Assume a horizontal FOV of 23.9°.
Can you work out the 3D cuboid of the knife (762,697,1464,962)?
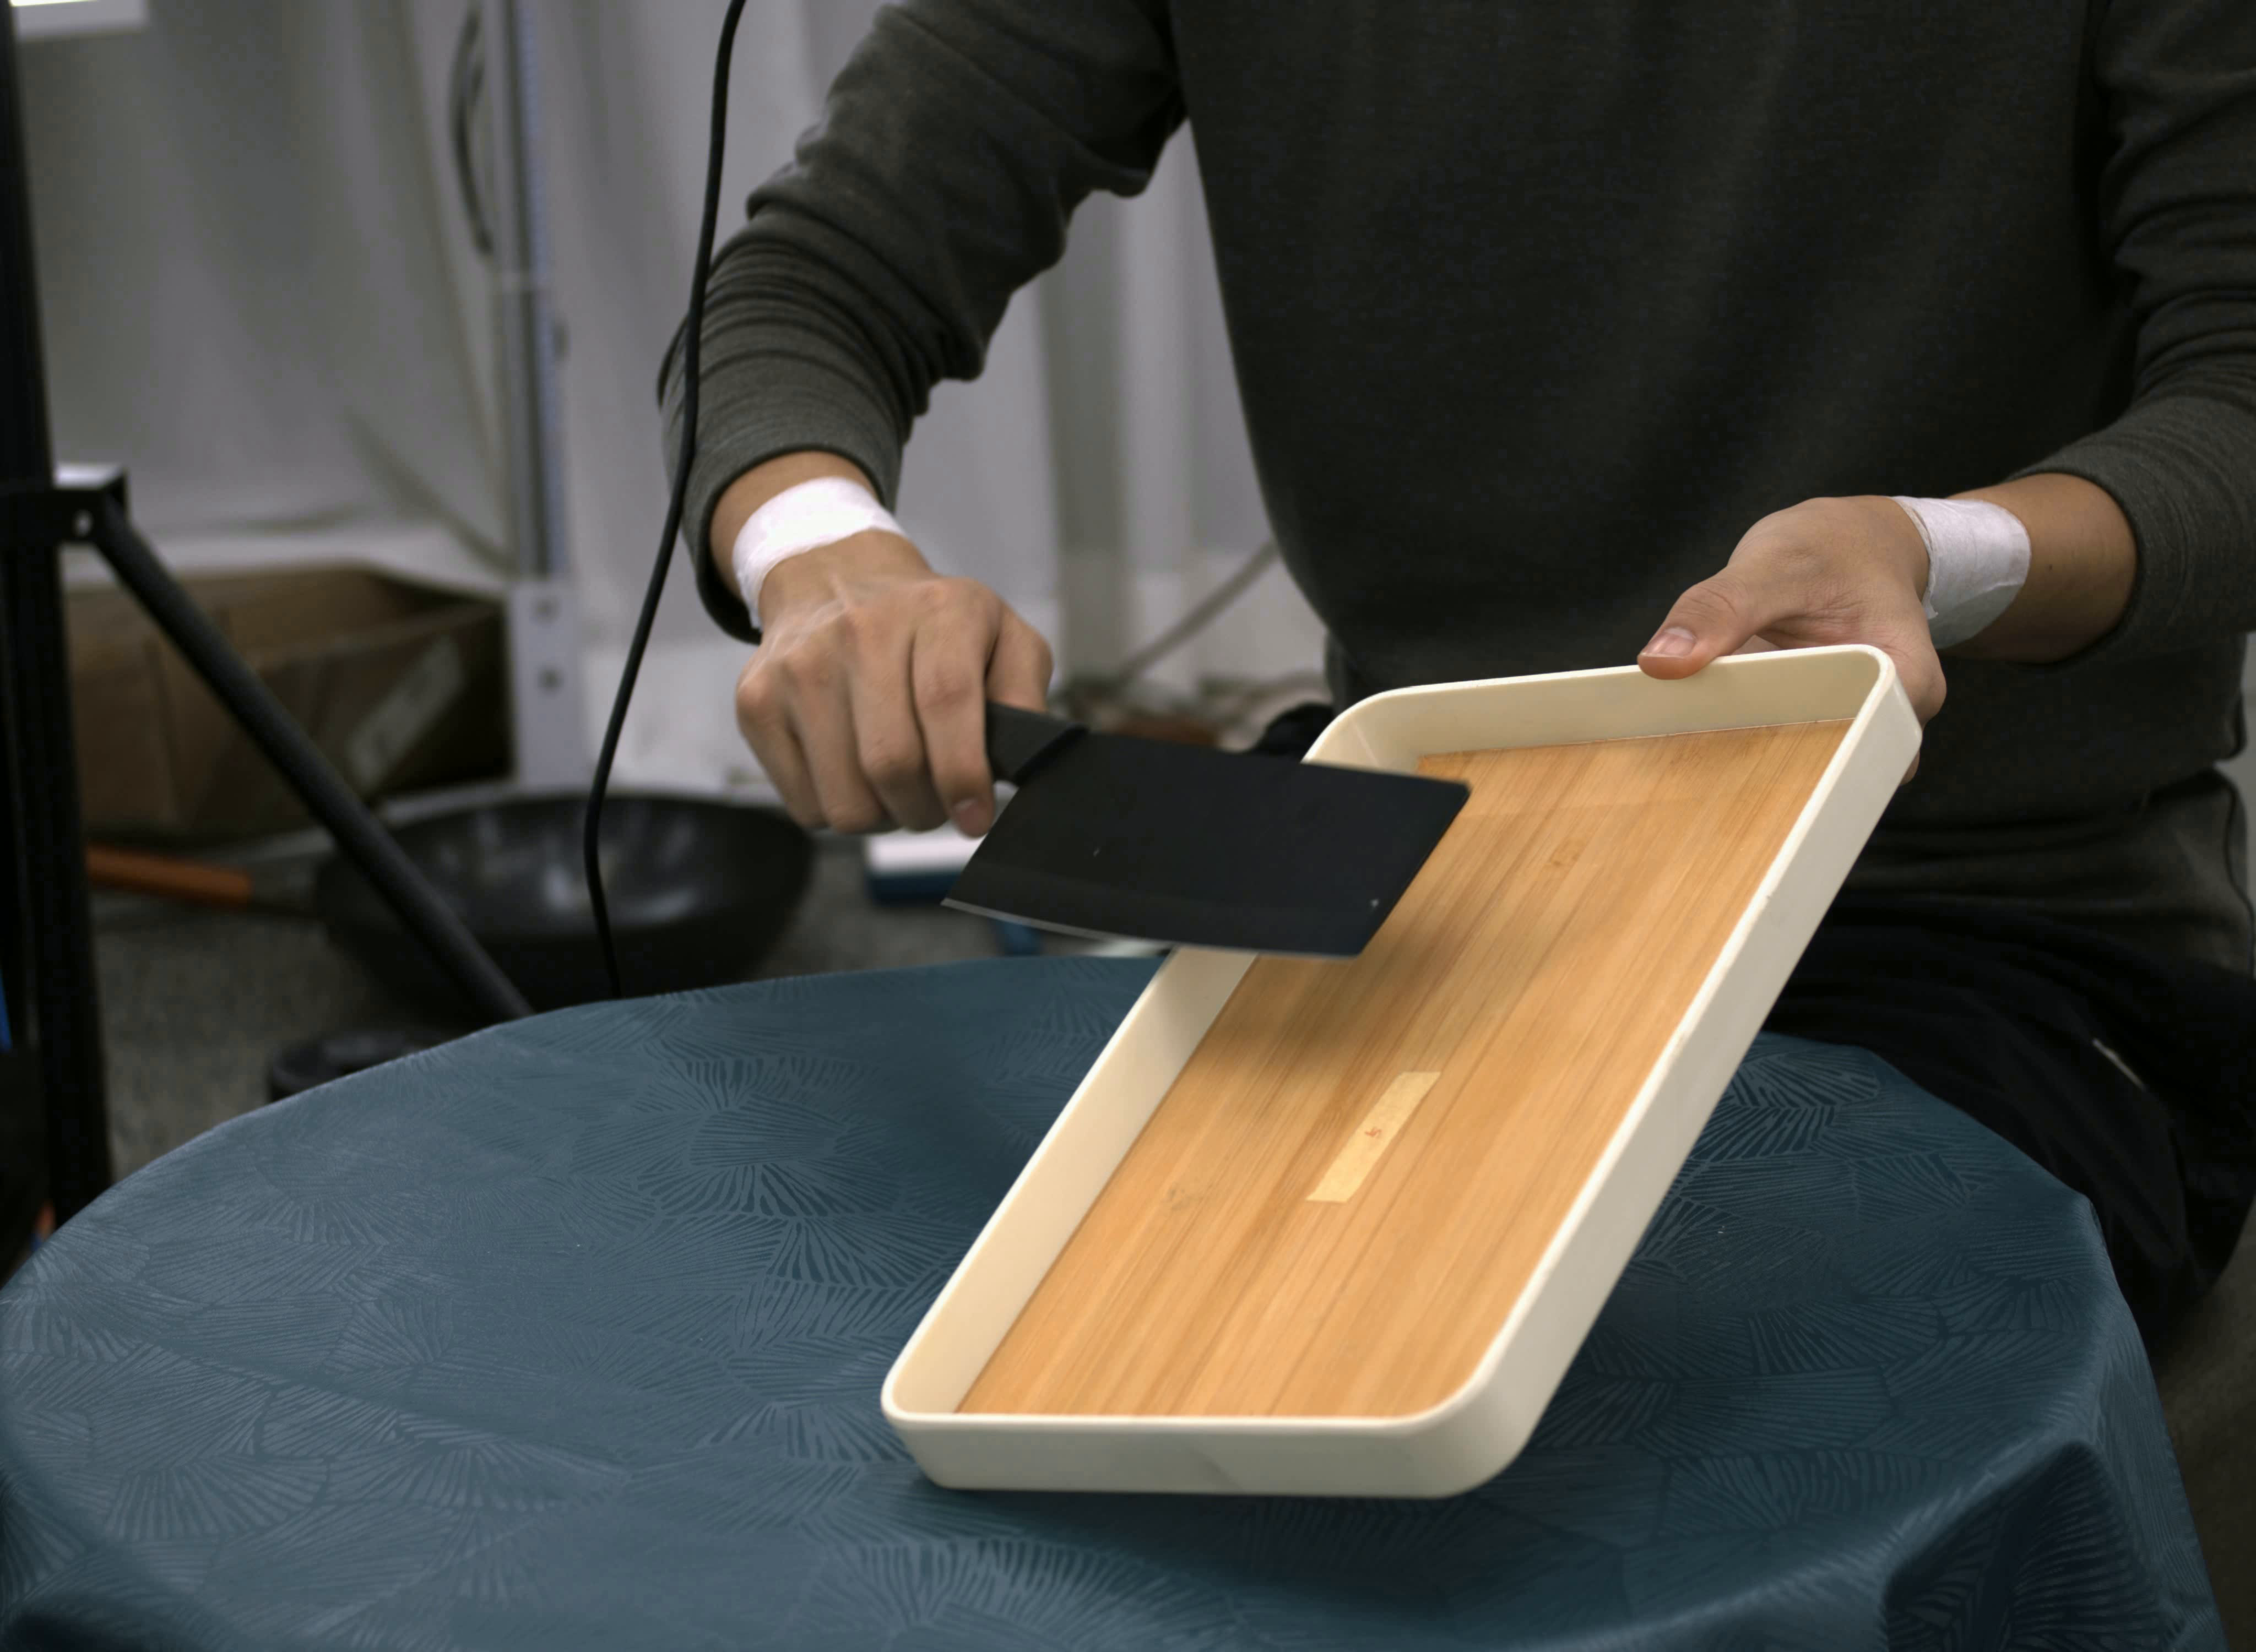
[{"bbox_3d":[-0.016,-0.002,1.513,0.080,0.020,0.309,-52,32,-16],"label":"knife"}]

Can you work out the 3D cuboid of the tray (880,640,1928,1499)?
[{"bbox_3d":[0.076,0.060,1.386,0.195,0.027,0.298,-5,37,40],"label":"tray"}]
